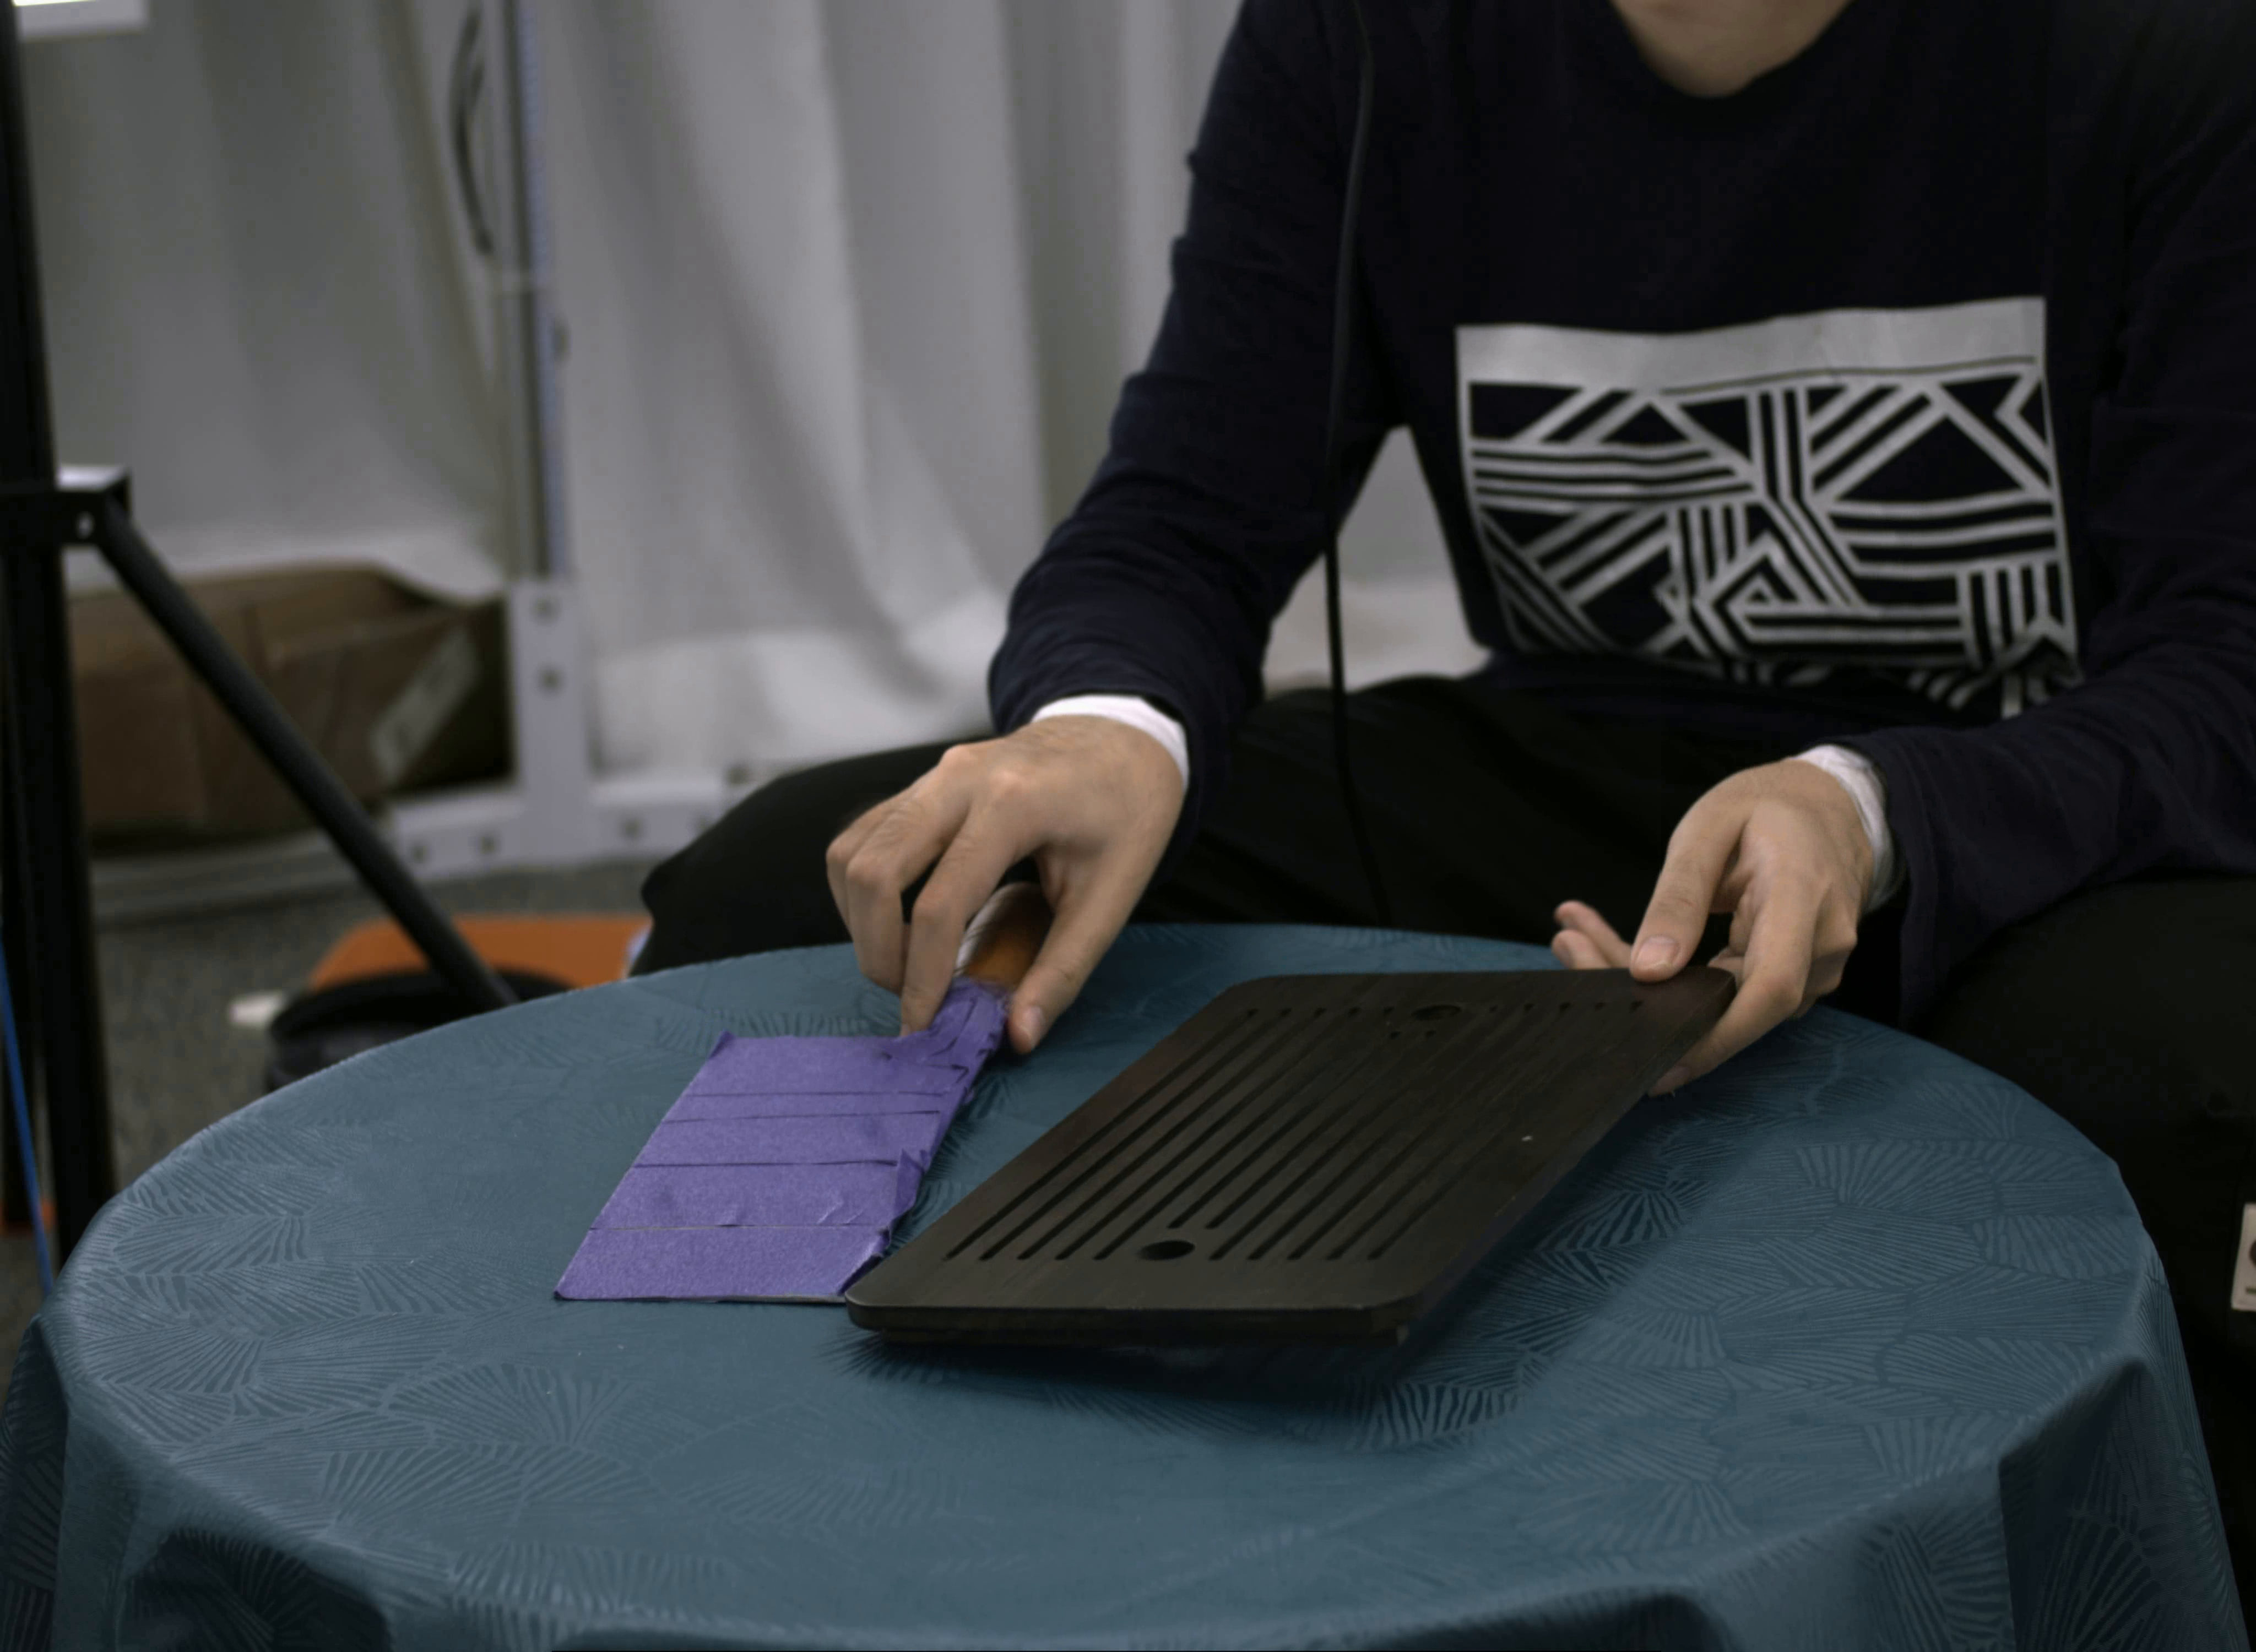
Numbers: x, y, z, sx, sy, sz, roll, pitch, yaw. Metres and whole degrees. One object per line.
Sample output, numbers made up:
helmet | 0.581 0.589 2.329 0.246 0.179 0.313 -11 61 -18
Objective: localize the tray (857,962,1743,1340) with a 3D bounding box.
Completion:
tray | 0.058 0.093 1.533 0.172 0.018 0.301 -3 14 25

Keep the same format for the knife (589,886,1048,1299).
knife | -0.092 0.078 1.629 0.104 0.032 0.314 0 17 9
